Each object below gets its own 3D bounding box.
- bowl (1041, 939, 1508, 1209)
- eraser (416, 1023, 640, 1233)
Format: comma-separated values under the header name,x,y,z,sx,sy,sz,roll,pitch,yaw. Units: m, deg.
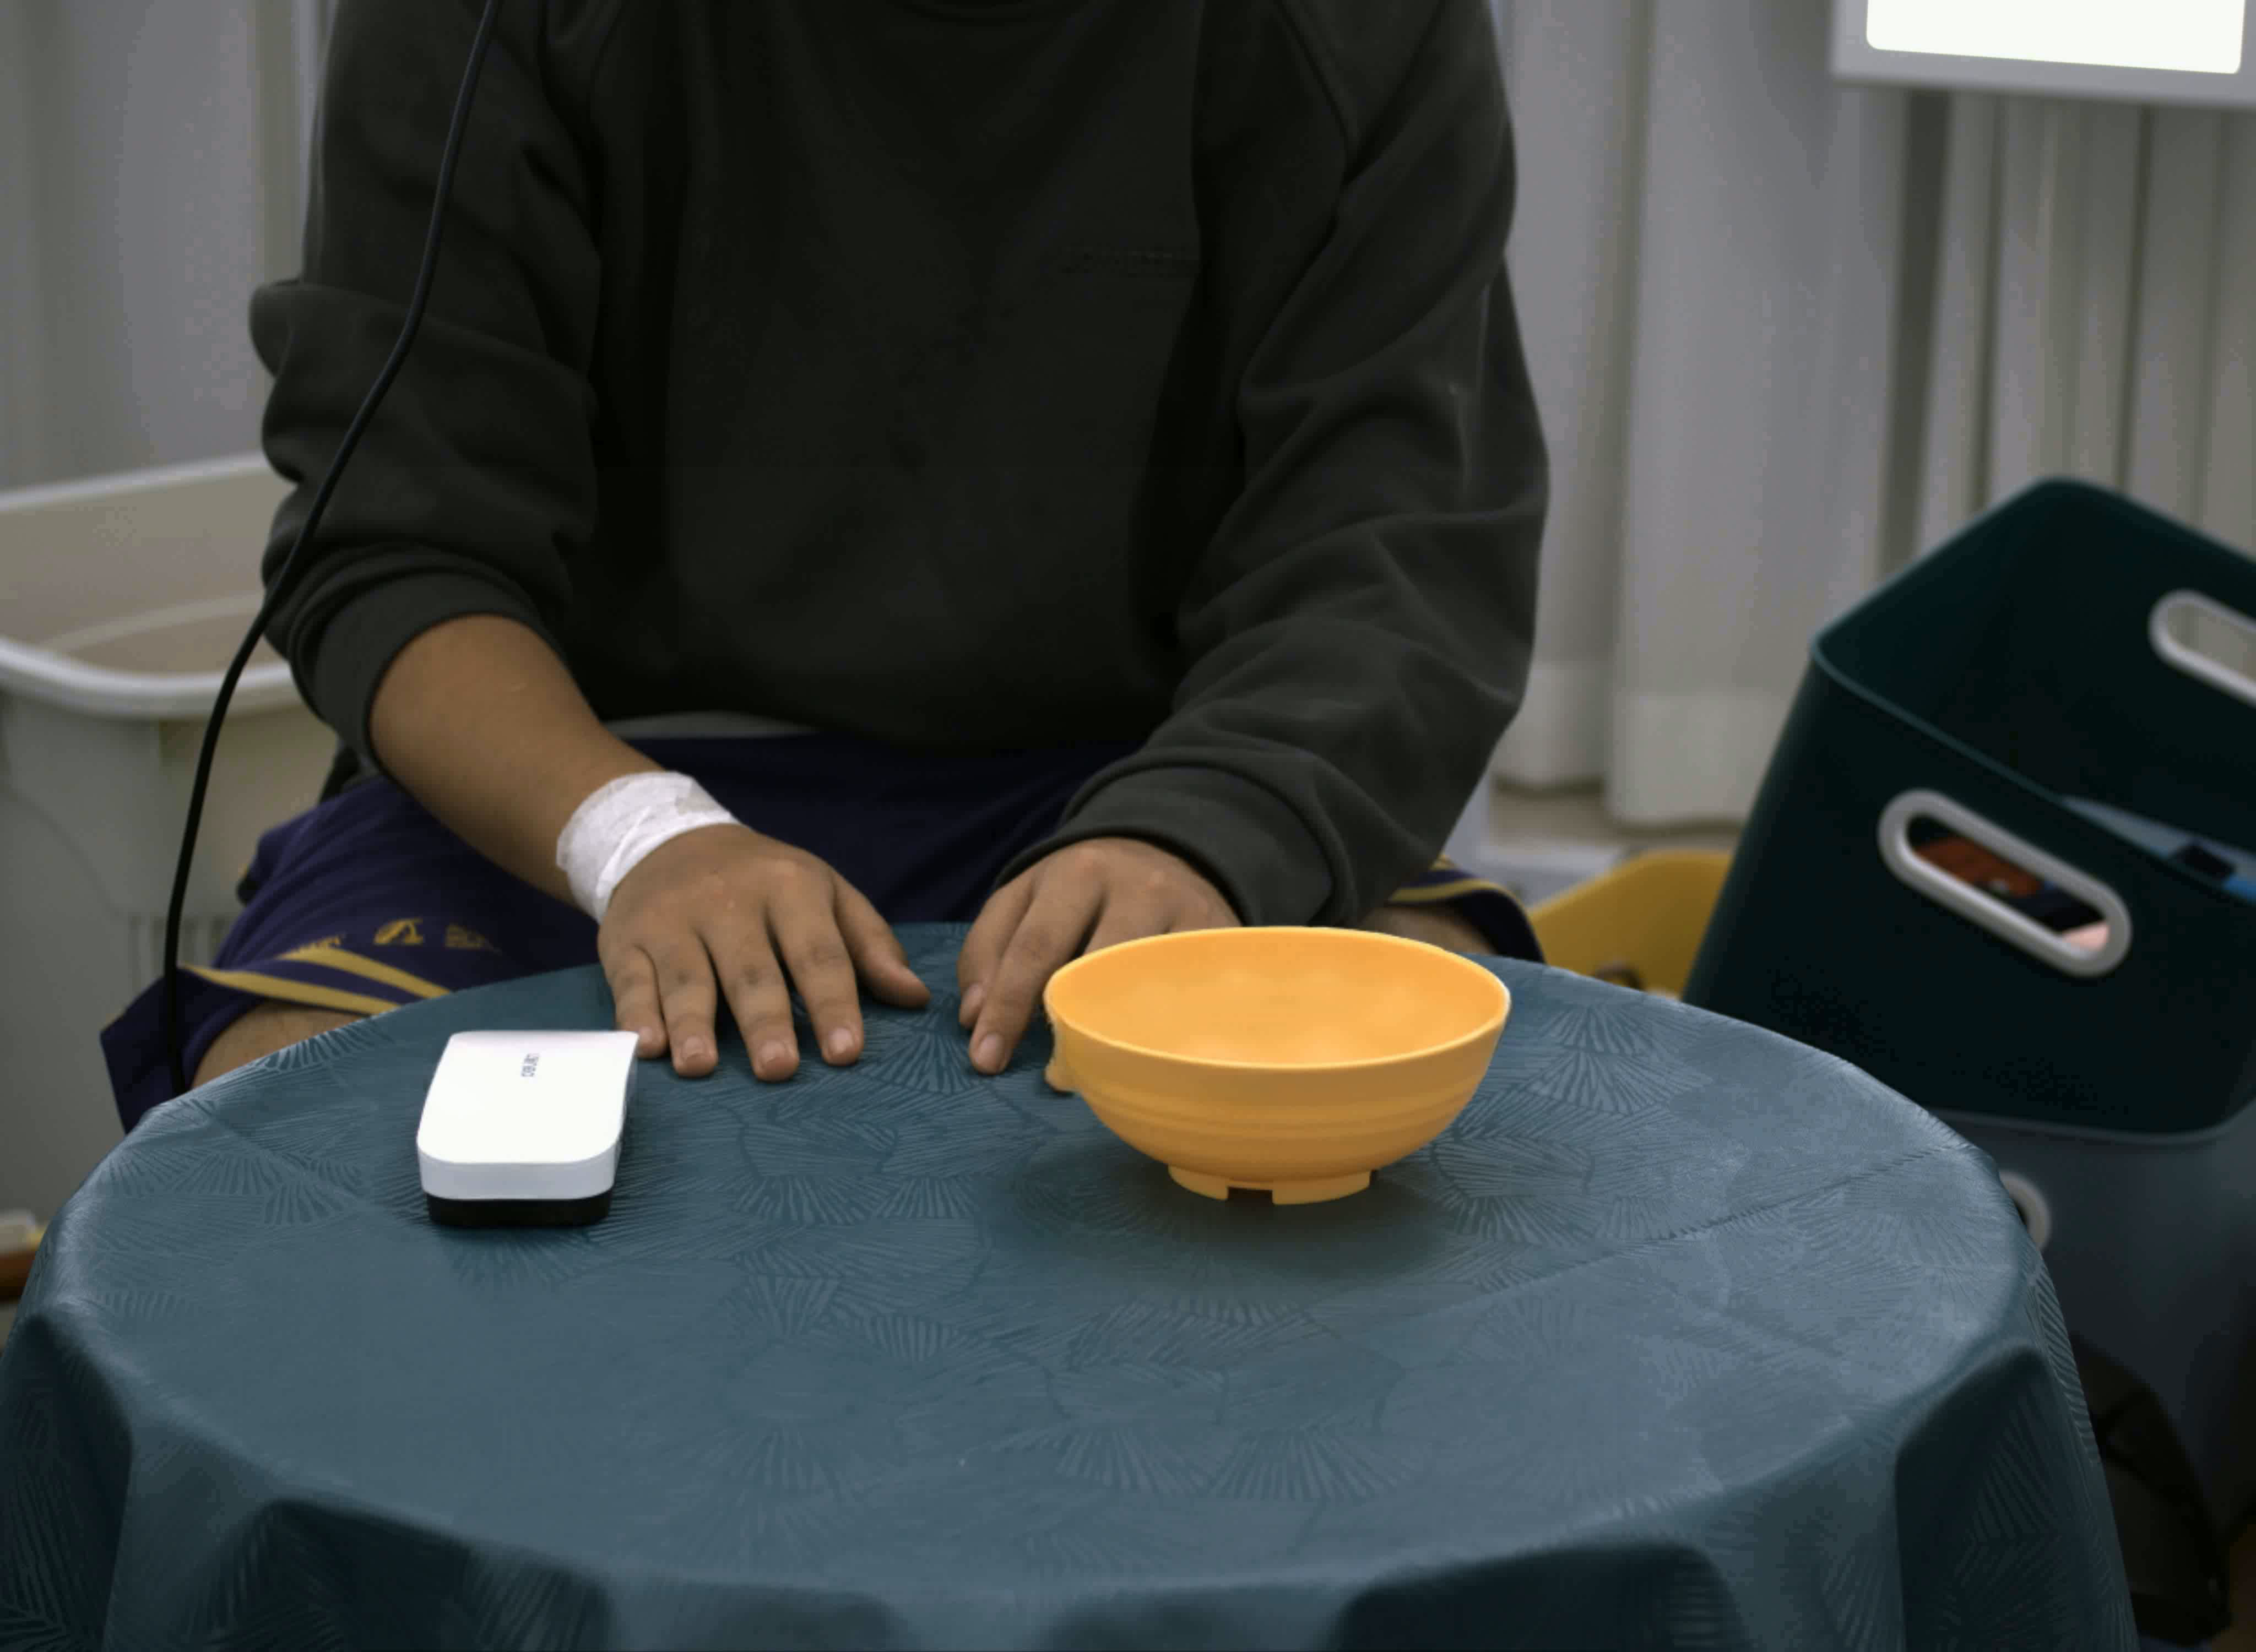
name,x,y,z,sx,sy,sz,roll,pitch,yaw
bowl,0.045,0.082,1.634,0.145,0.060,0.144,1,13,0
eraser,-0.185,0.089,1.639,0.063,0.035,0.130,1,17,-1
